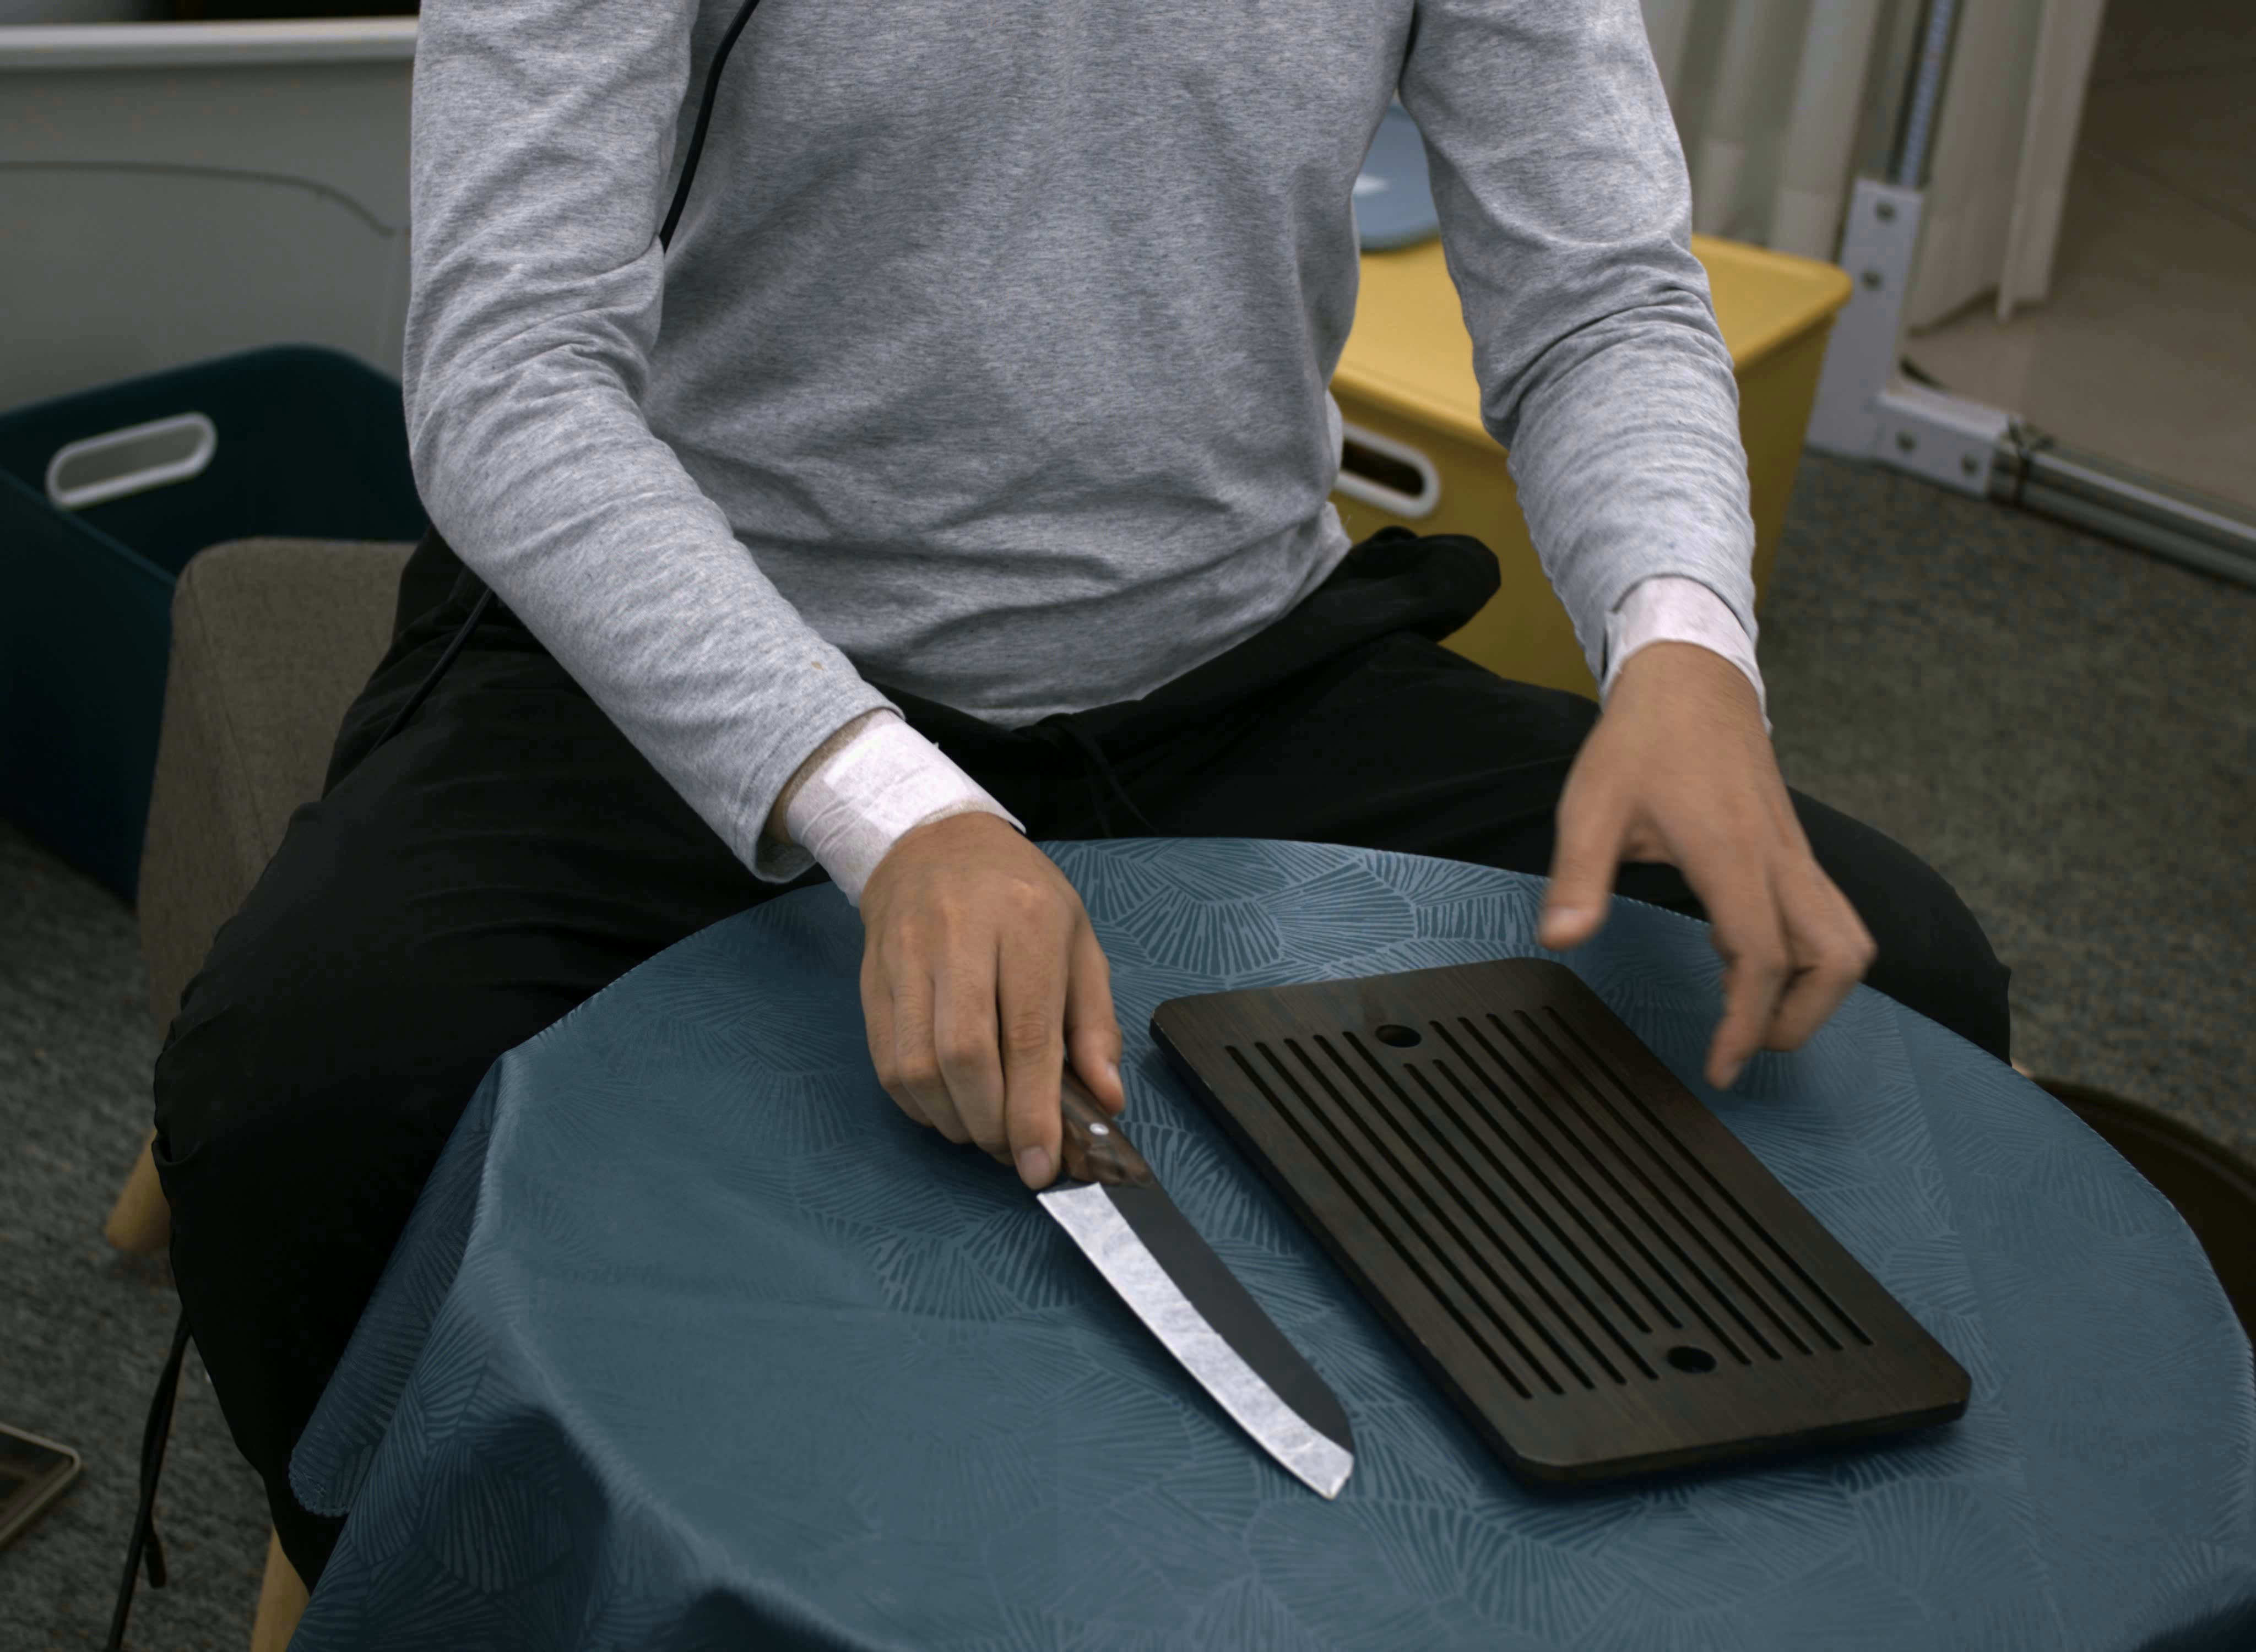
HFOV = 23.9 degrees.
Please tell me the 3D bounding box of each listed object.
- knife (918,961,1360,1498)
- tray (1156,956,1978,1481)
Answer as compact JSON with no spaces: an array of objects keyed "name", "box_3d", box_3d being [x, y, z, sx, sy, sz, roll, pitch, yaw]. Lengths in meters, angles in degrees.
[{"name":"knife","box_3d":[0.001,0.131,1.755,0.050,0.020,0.292,-8,36,-27]},{"name":"tray","box_3d":[0.142,0.130,1.807,0.169,0.018,0.309,-6,29,-23]}]
